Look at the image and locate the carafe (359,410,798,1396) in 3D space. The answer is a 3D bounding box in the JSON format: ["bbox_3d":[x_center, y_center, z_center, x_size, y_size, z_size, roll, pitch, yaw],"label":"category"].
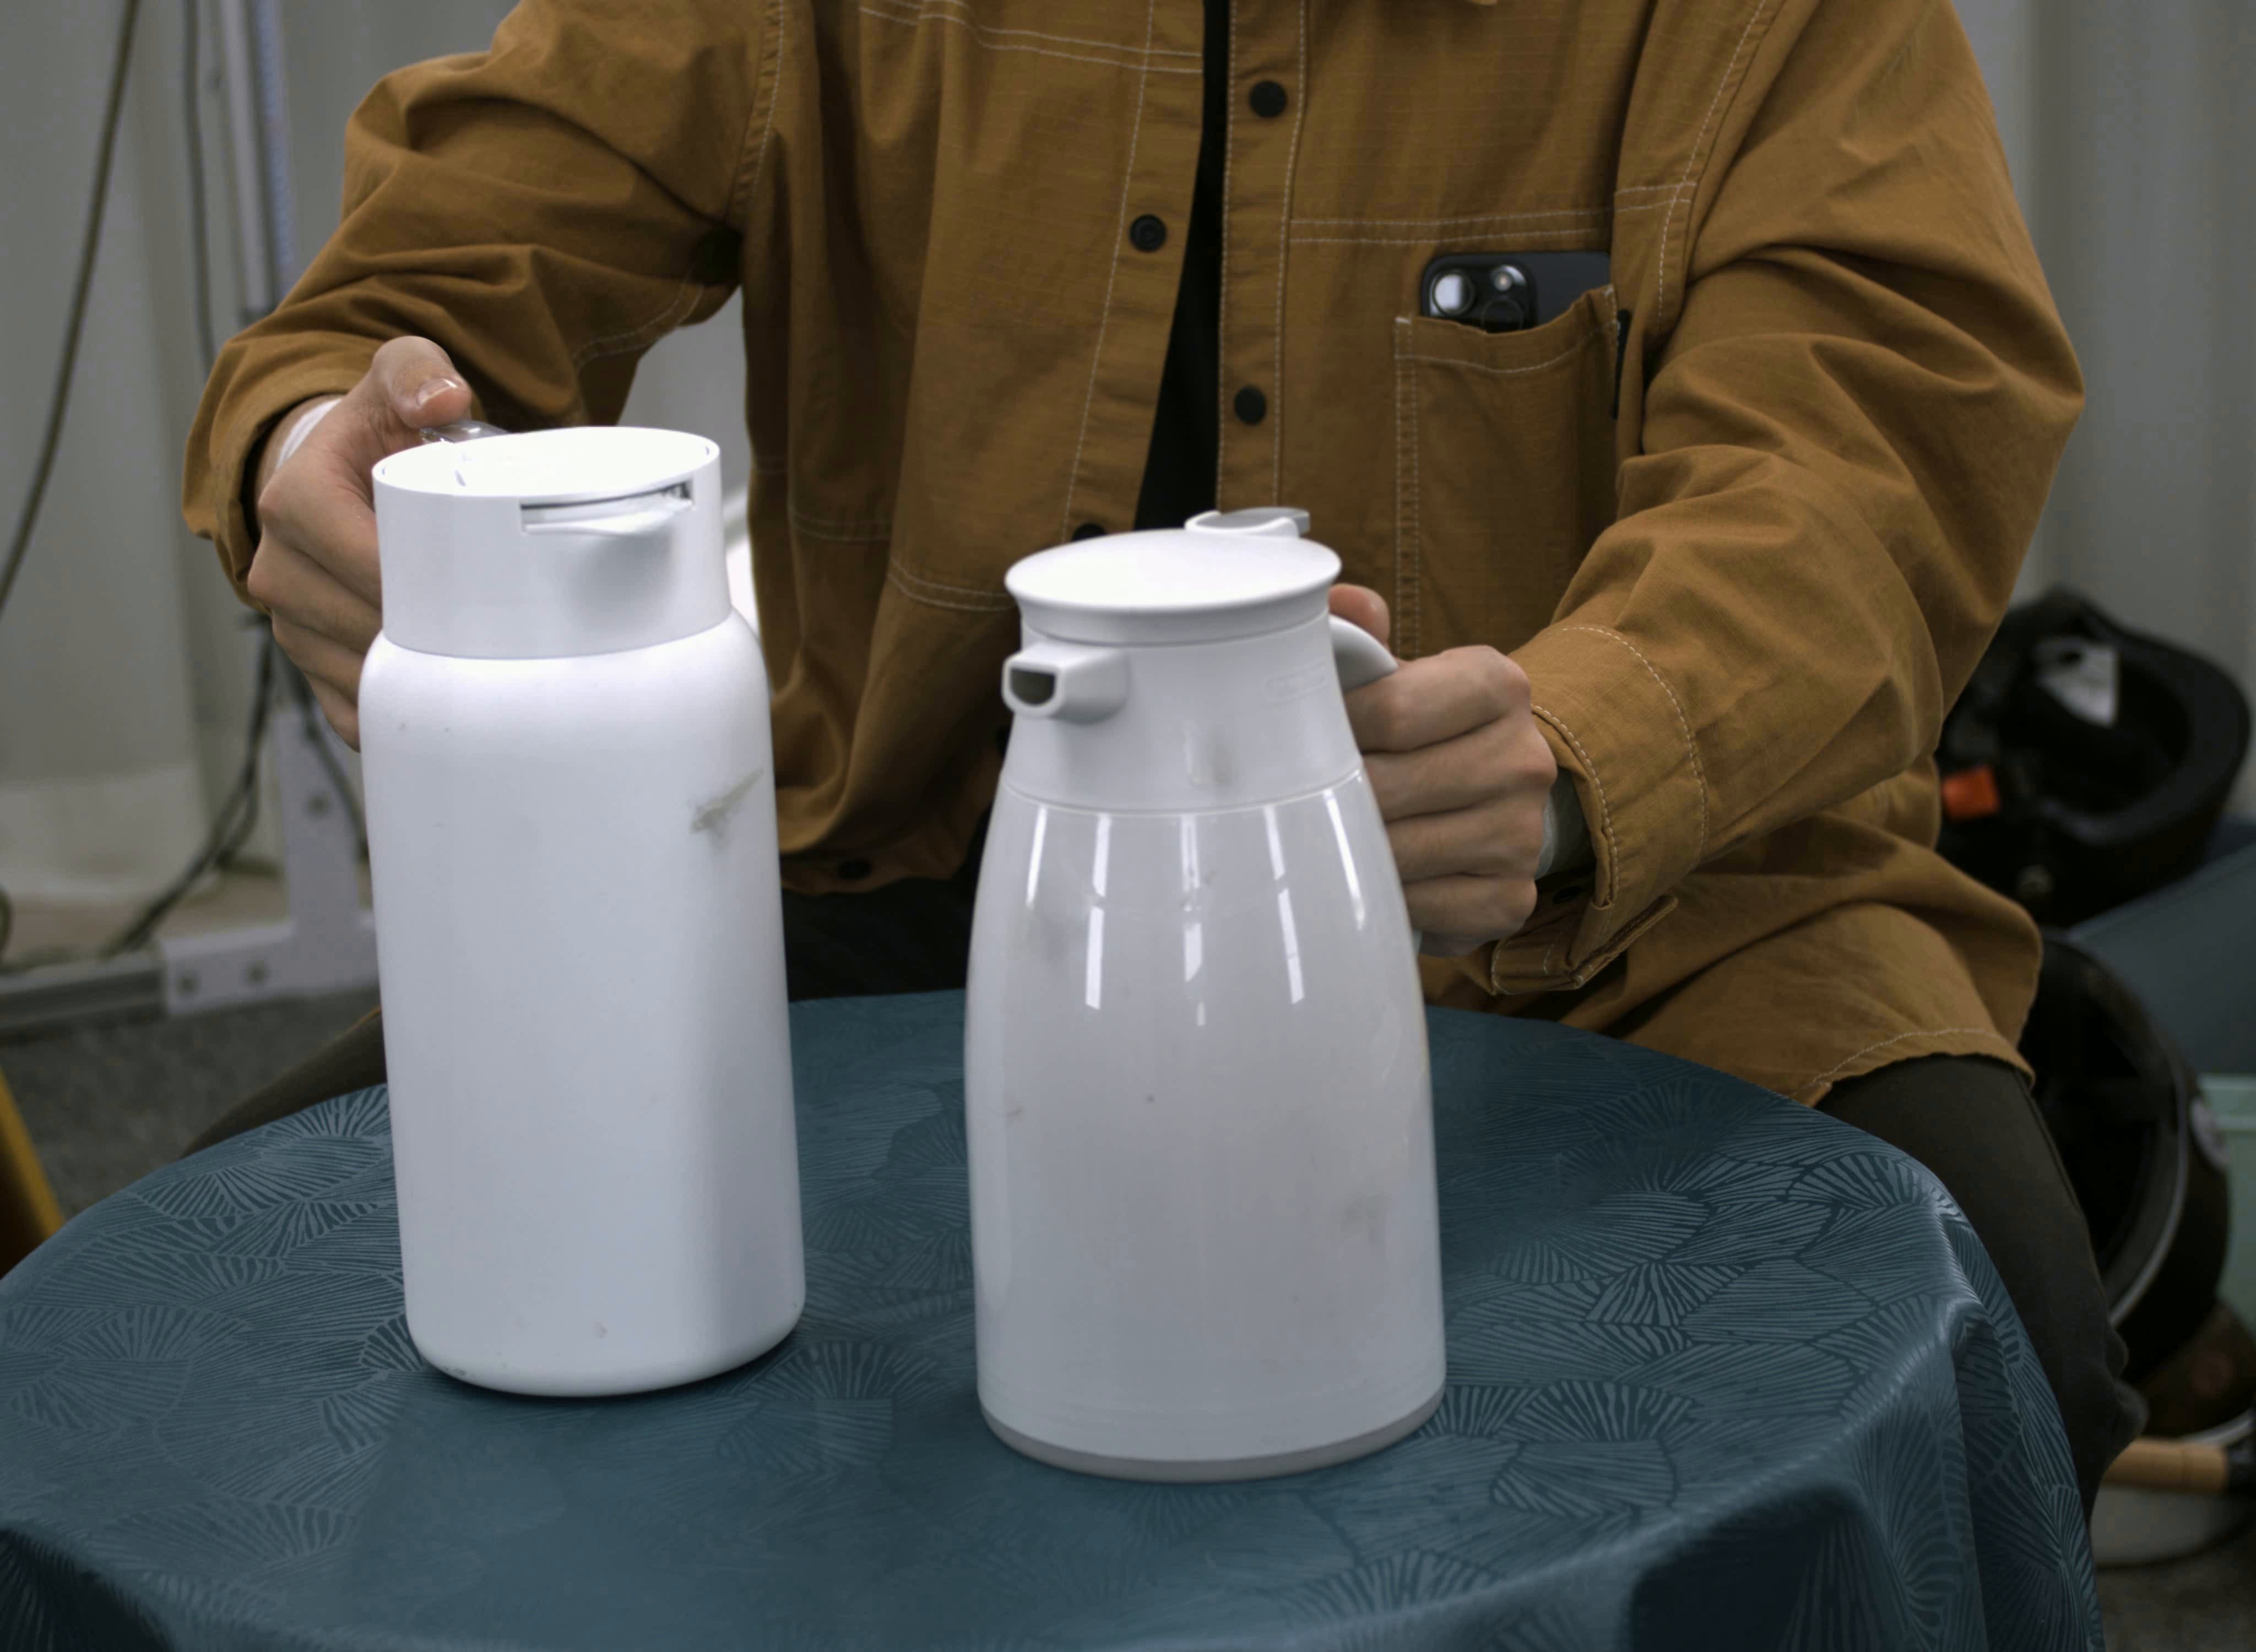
[{"bbox_3d":[-0.169,0.019,1.591,0.123,0.268,0.174,-12,17,-28],"label":"carafe"}]

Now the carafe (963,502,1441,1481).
[{"bbox_3d":[0.028,0.037,1.523,0.133,0.248,0.167,8,16,37],"label":"carafe"}]
